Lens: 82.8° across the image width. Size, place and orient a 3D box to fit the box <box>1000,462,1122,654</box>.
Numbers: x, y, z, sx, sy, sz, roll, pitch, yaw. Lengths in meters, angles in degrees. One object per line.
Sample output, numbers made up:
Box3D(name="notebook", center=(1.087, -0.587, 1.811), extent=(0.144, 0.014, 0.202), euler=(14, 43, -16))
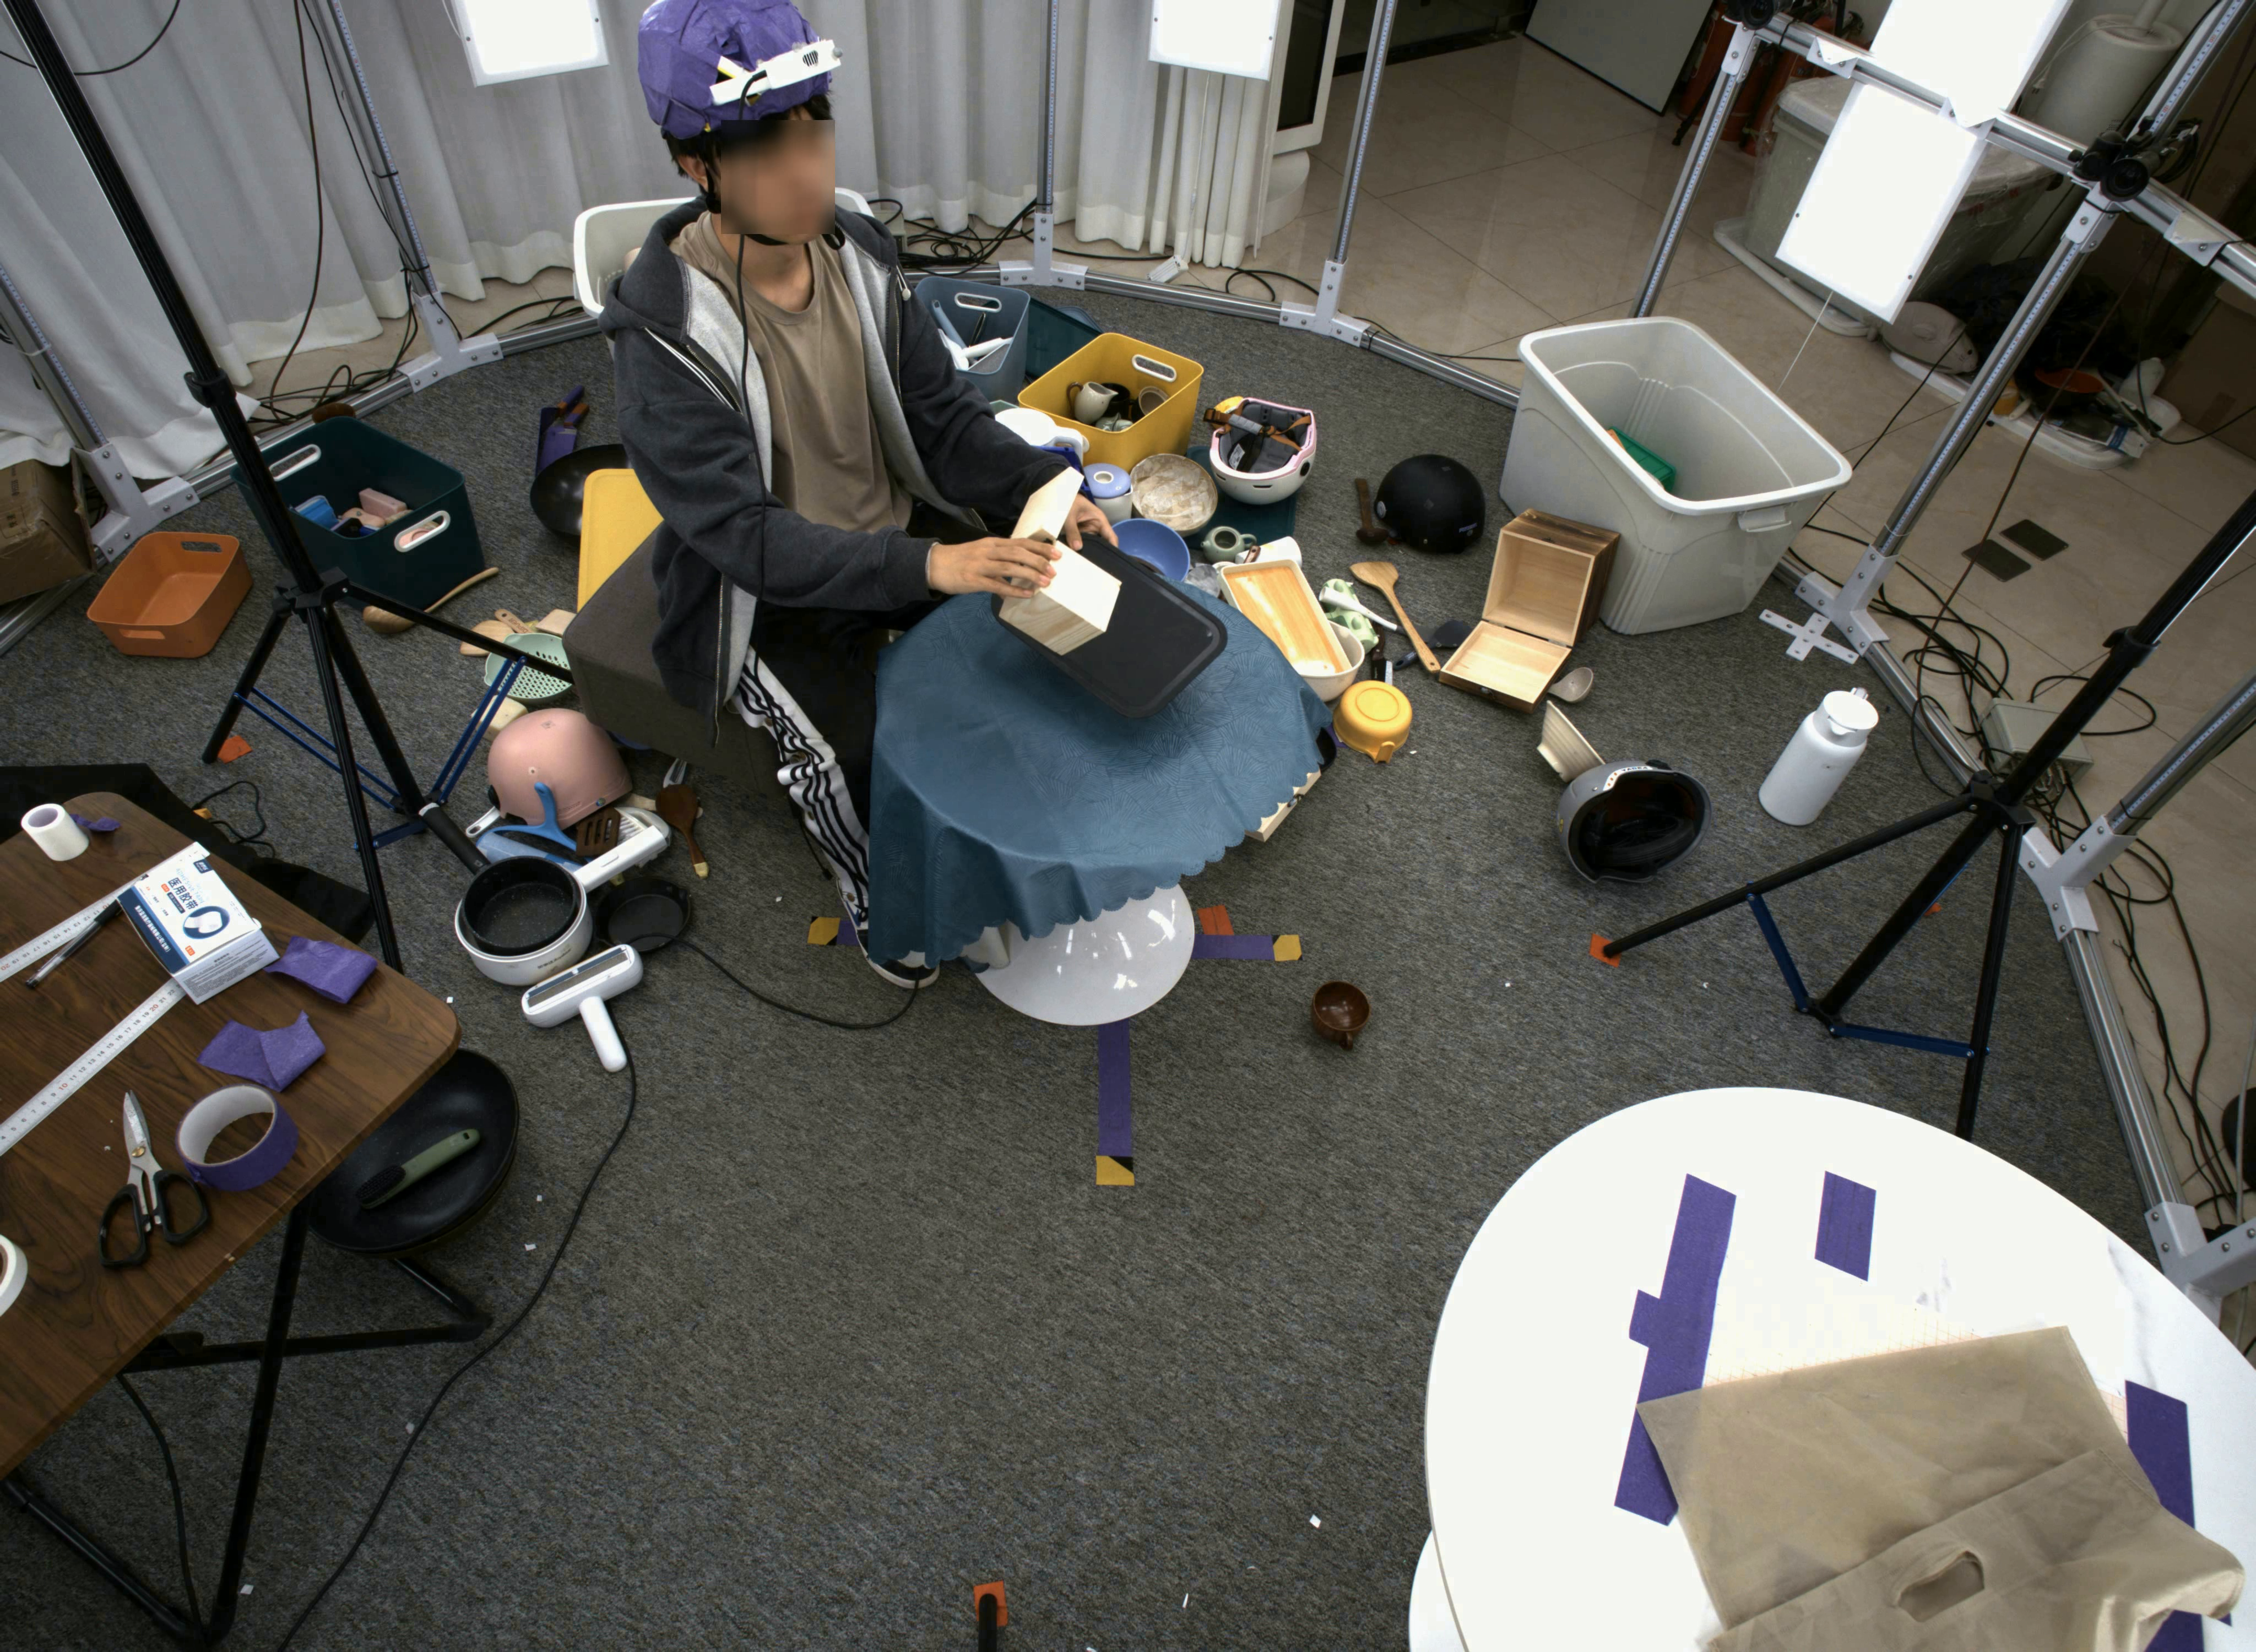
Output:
Box3D(name="box", center=(-0.077, -0.336, 1.621), extent=(0.132, 0.102, 0.187), euler=(28, 65, -26))

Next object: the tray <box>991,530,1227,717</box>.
Box3D(name="tray", center=(-0.035, -0.293, 1.798), extent=(0.329, 0.009, 0.213), euler=(39, 68, 20))
